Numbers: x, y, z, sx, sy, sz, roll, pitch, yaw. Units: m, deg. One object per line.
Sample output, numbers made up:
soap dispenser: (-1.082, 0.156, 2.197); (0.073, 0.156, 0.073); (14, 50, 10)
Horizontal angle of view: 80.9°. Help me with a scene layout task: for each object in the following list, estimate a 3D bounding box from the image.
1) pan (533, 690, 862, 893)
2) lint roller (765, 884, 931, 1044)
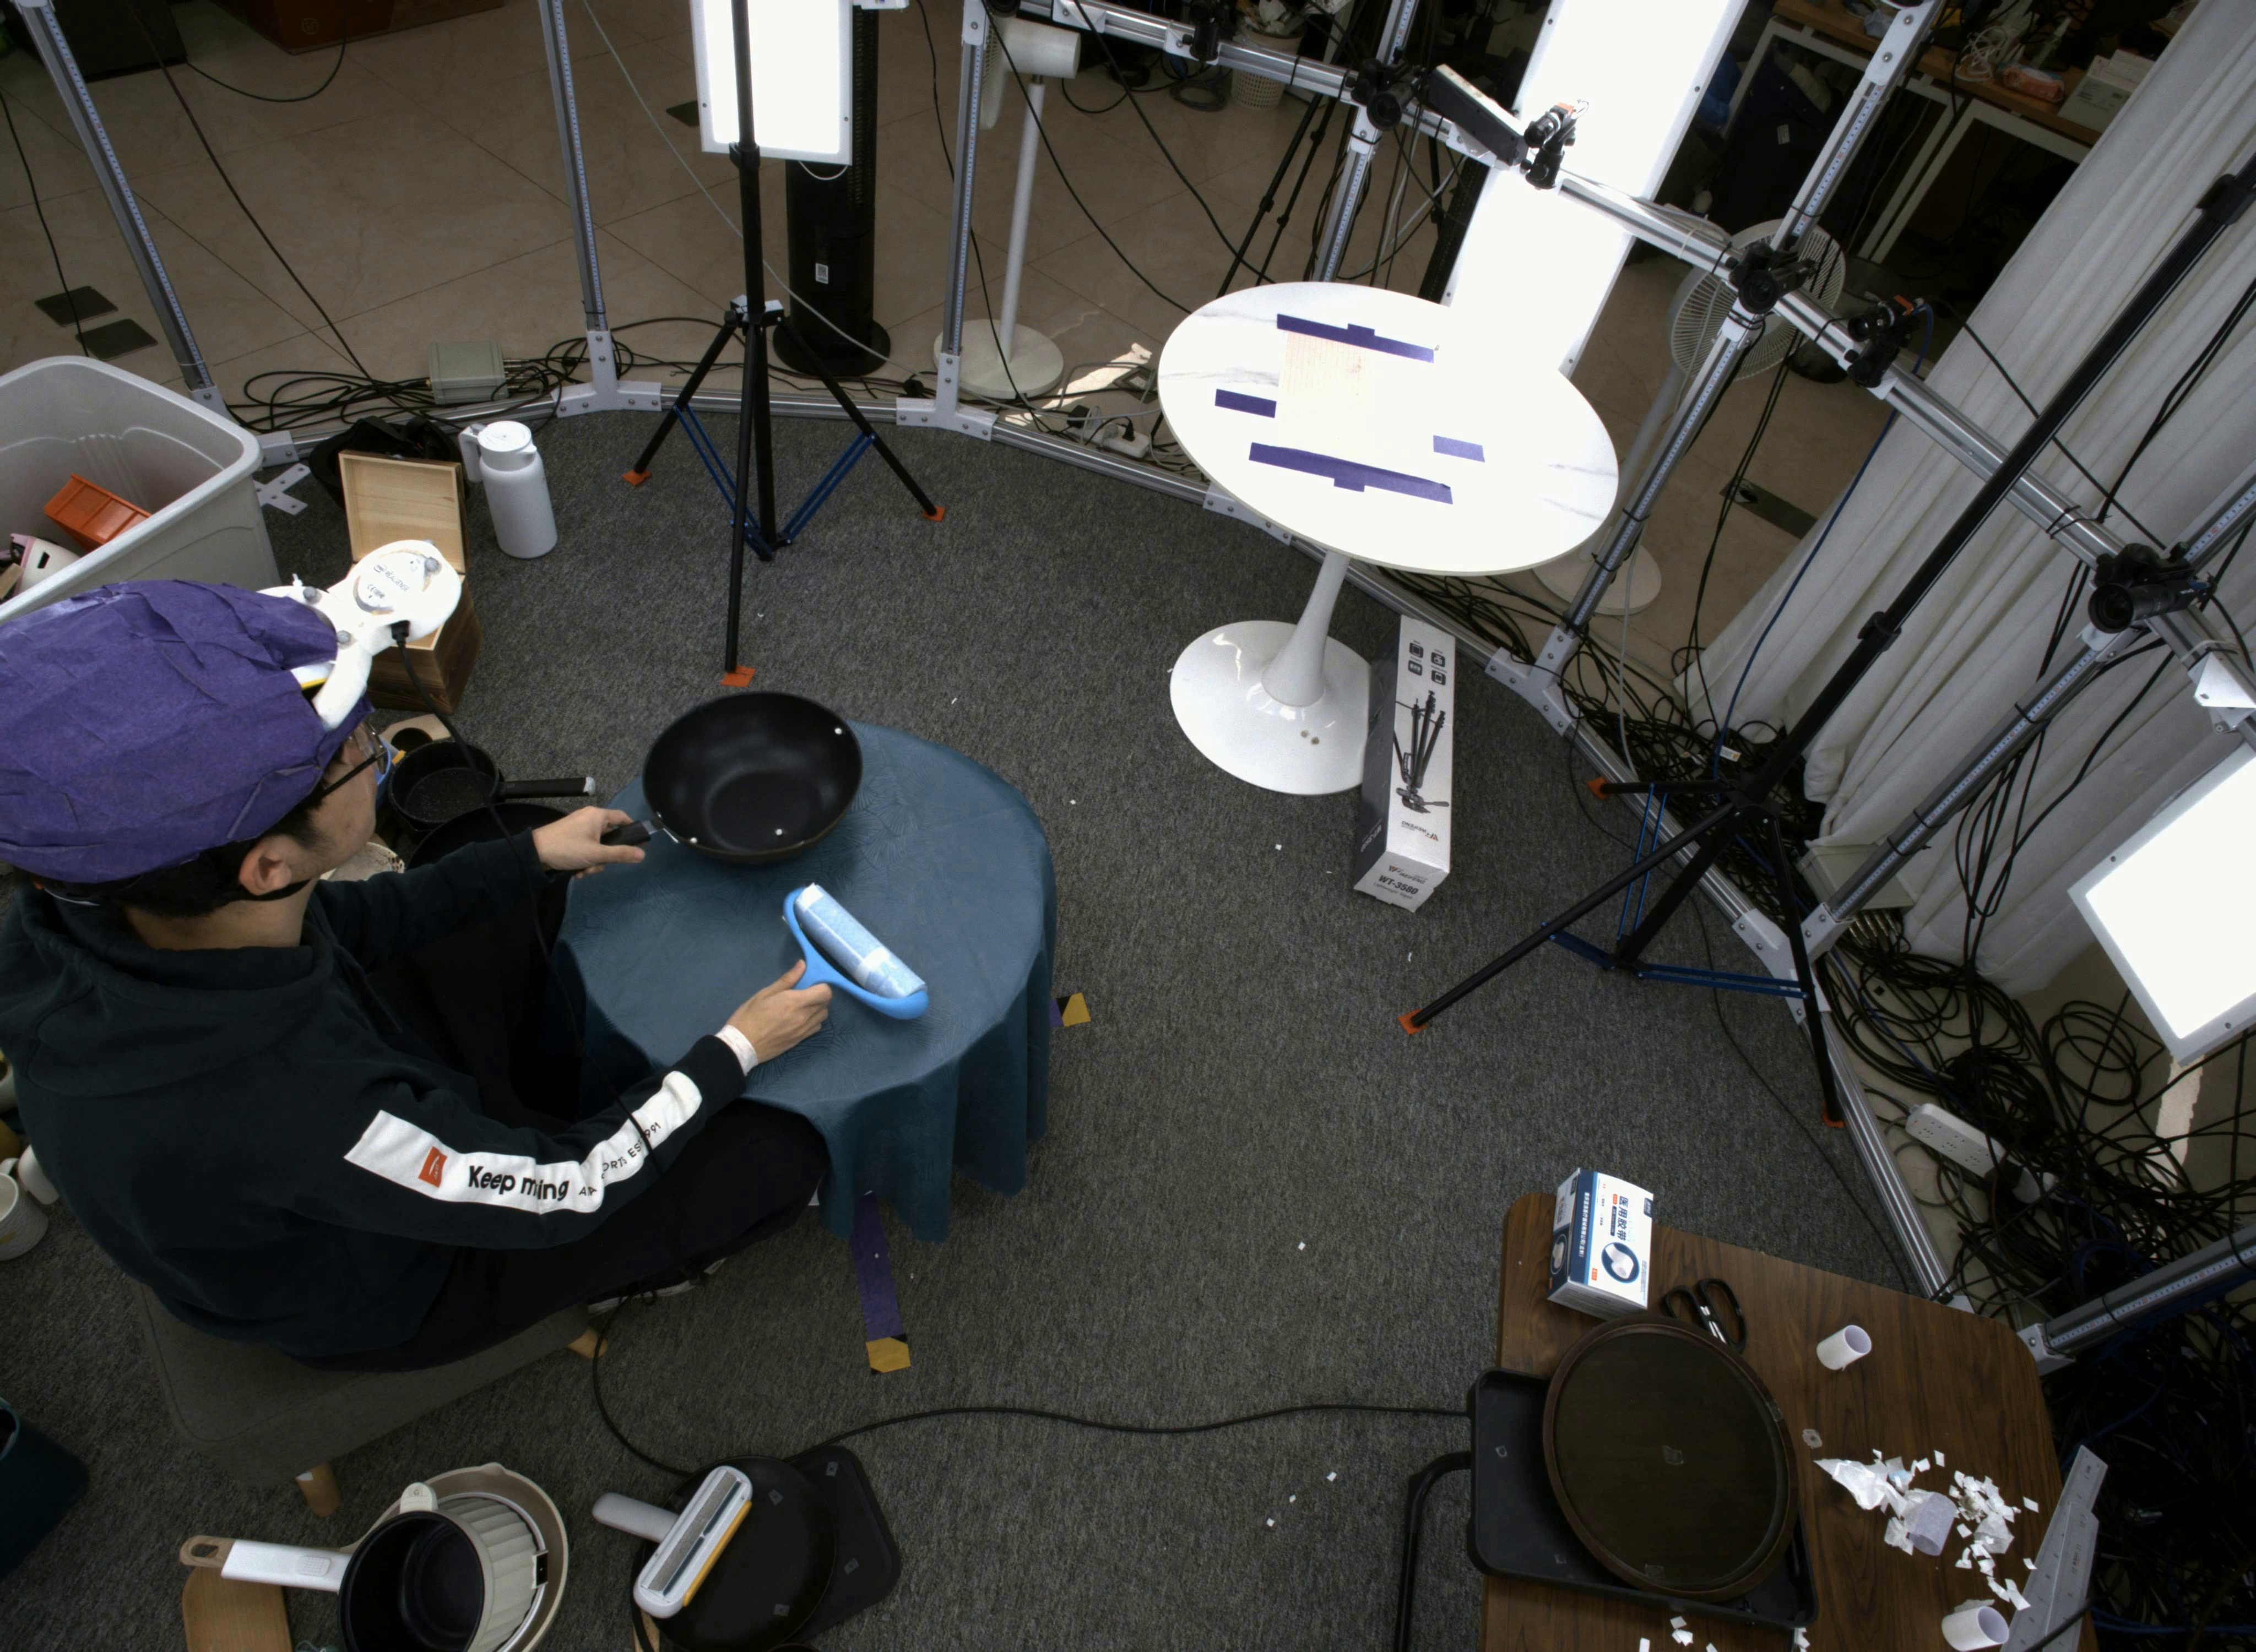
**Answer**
pan: (-0.553, -0.010, 1.647); (0.464, 0.089, 0.279); (-31, 60, -27)
lint roller: (-0.365, 0.185, 1.558); (0.225, 0.069, 0.180); (38, 61, 11)
